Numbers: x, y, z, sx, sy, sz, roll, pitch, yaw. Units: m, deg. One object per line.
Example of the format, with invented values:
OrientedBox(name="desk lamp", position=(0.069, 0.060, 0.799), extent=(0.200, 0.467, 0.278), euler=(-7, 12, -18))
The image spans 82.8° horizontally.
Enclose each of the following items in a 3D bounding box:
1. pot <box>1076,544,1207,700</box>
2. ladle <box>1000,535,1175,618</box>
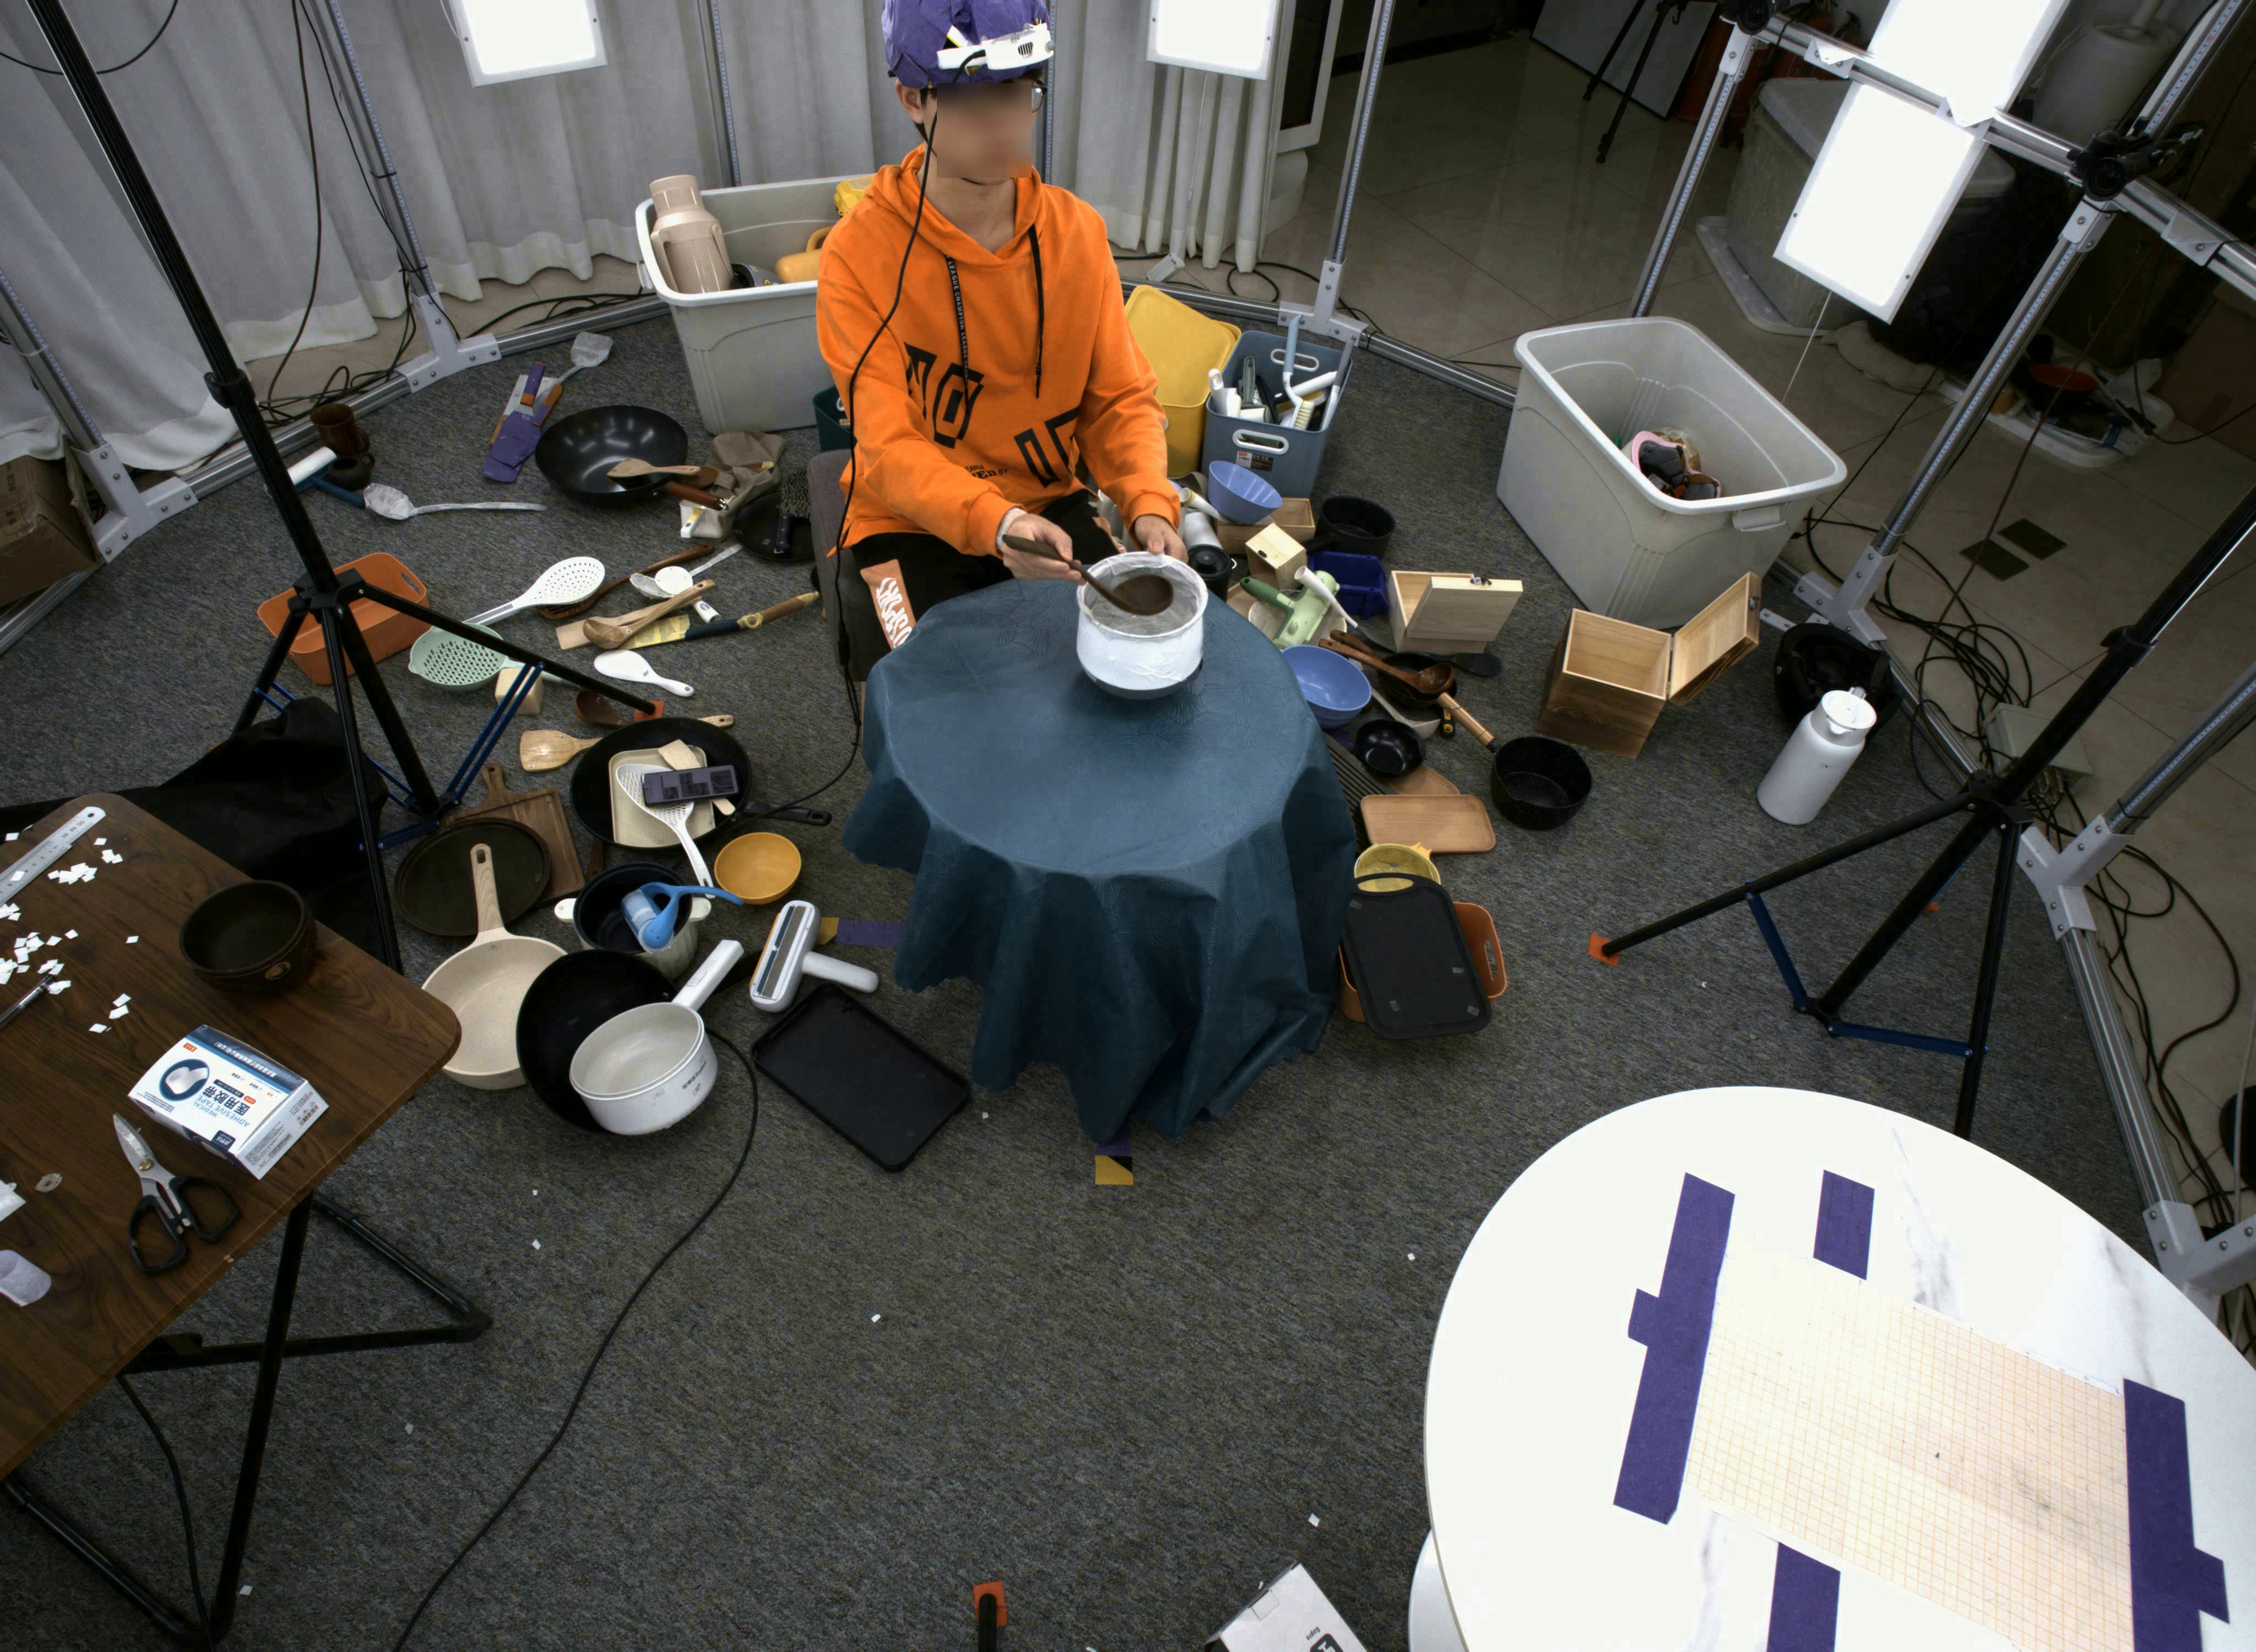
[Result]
OrientedBox(name="pot", position=(0.021, -0.294, 1.795), extent=(0.179, 0.133, 0.239), euler=(8, 49, 5))
OrientedBox(name="ladle", position=(-0.045, -0.338, 1.667), extent=(0.270, 0.071, 0.078), euler=(22, 25, -46))
